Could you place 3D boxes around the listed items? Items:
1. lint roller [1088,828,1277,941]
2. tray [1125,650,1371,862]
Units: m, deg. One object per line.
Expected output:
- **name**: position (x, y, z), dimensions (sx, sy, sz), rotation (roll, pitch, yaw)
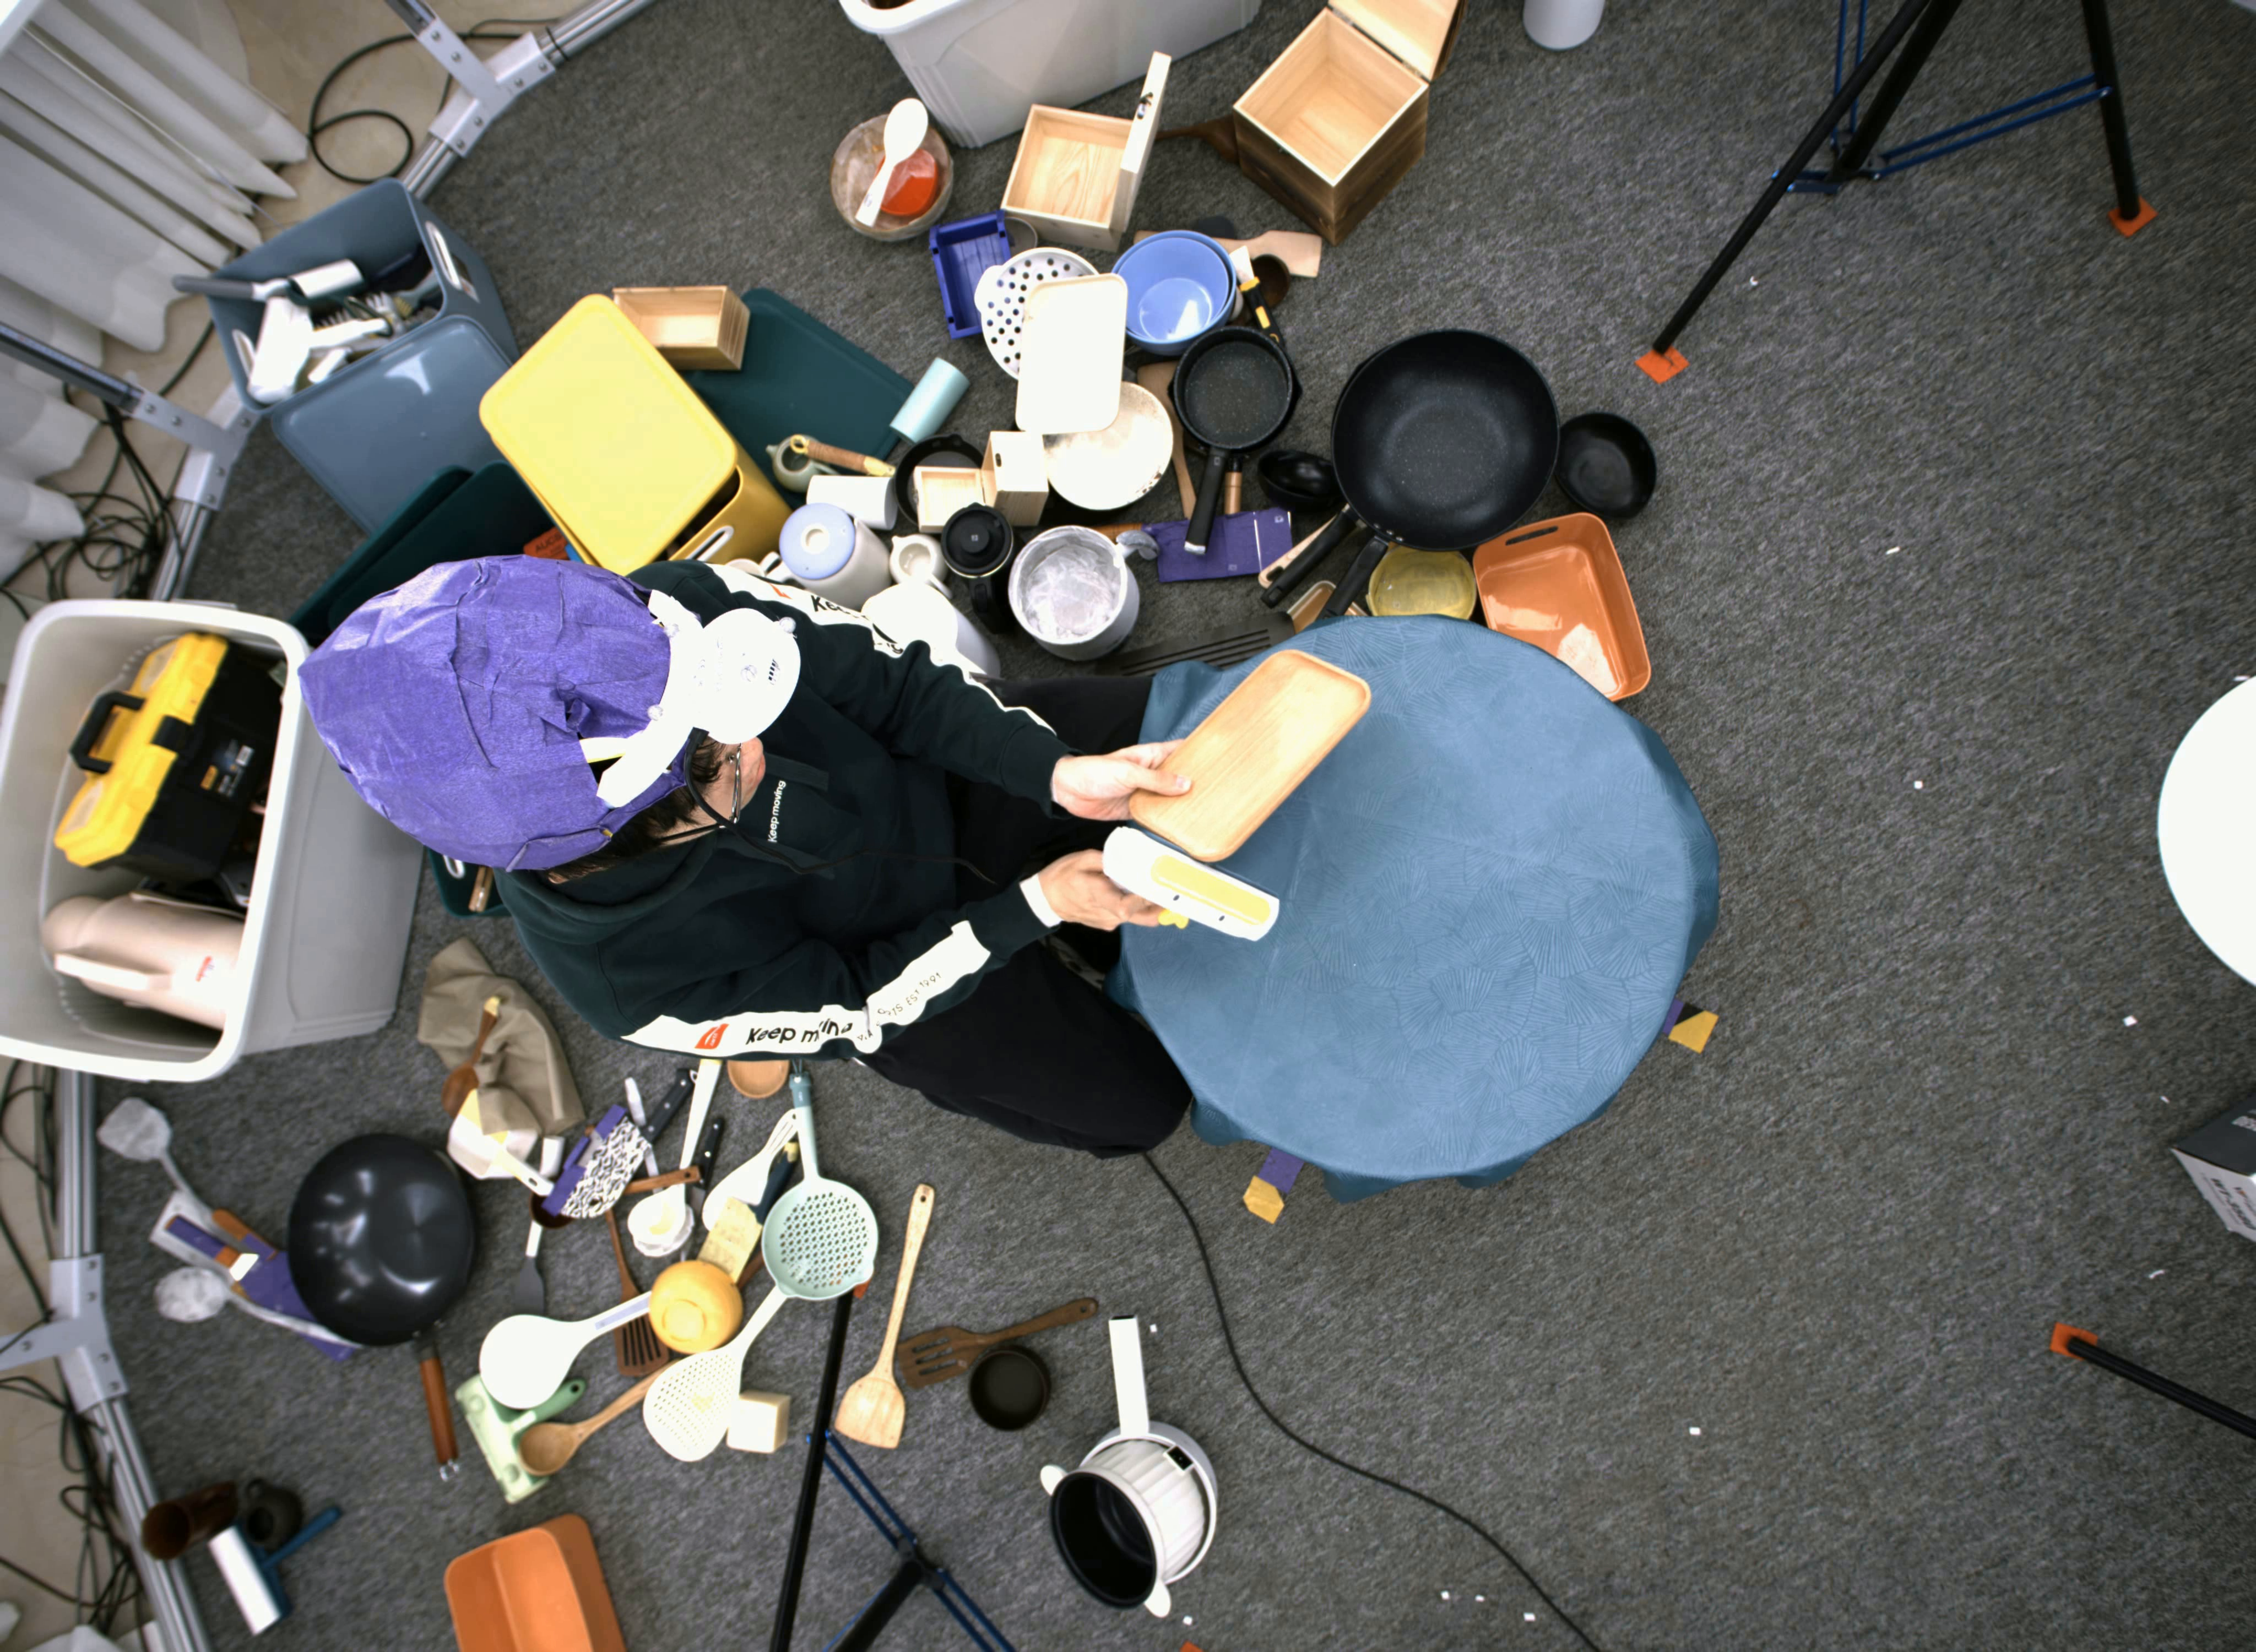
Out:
- **lint roller**: position (0.023, 0.054, 1.332), dimensions (0.193, 0.192, 0.074), rotation (18, 88, -30)
- **tray**: position (0.115, -0.070, 1.308), dimensions (0.247, 0.023, 0.129), rotation (-45, 51, -16)
